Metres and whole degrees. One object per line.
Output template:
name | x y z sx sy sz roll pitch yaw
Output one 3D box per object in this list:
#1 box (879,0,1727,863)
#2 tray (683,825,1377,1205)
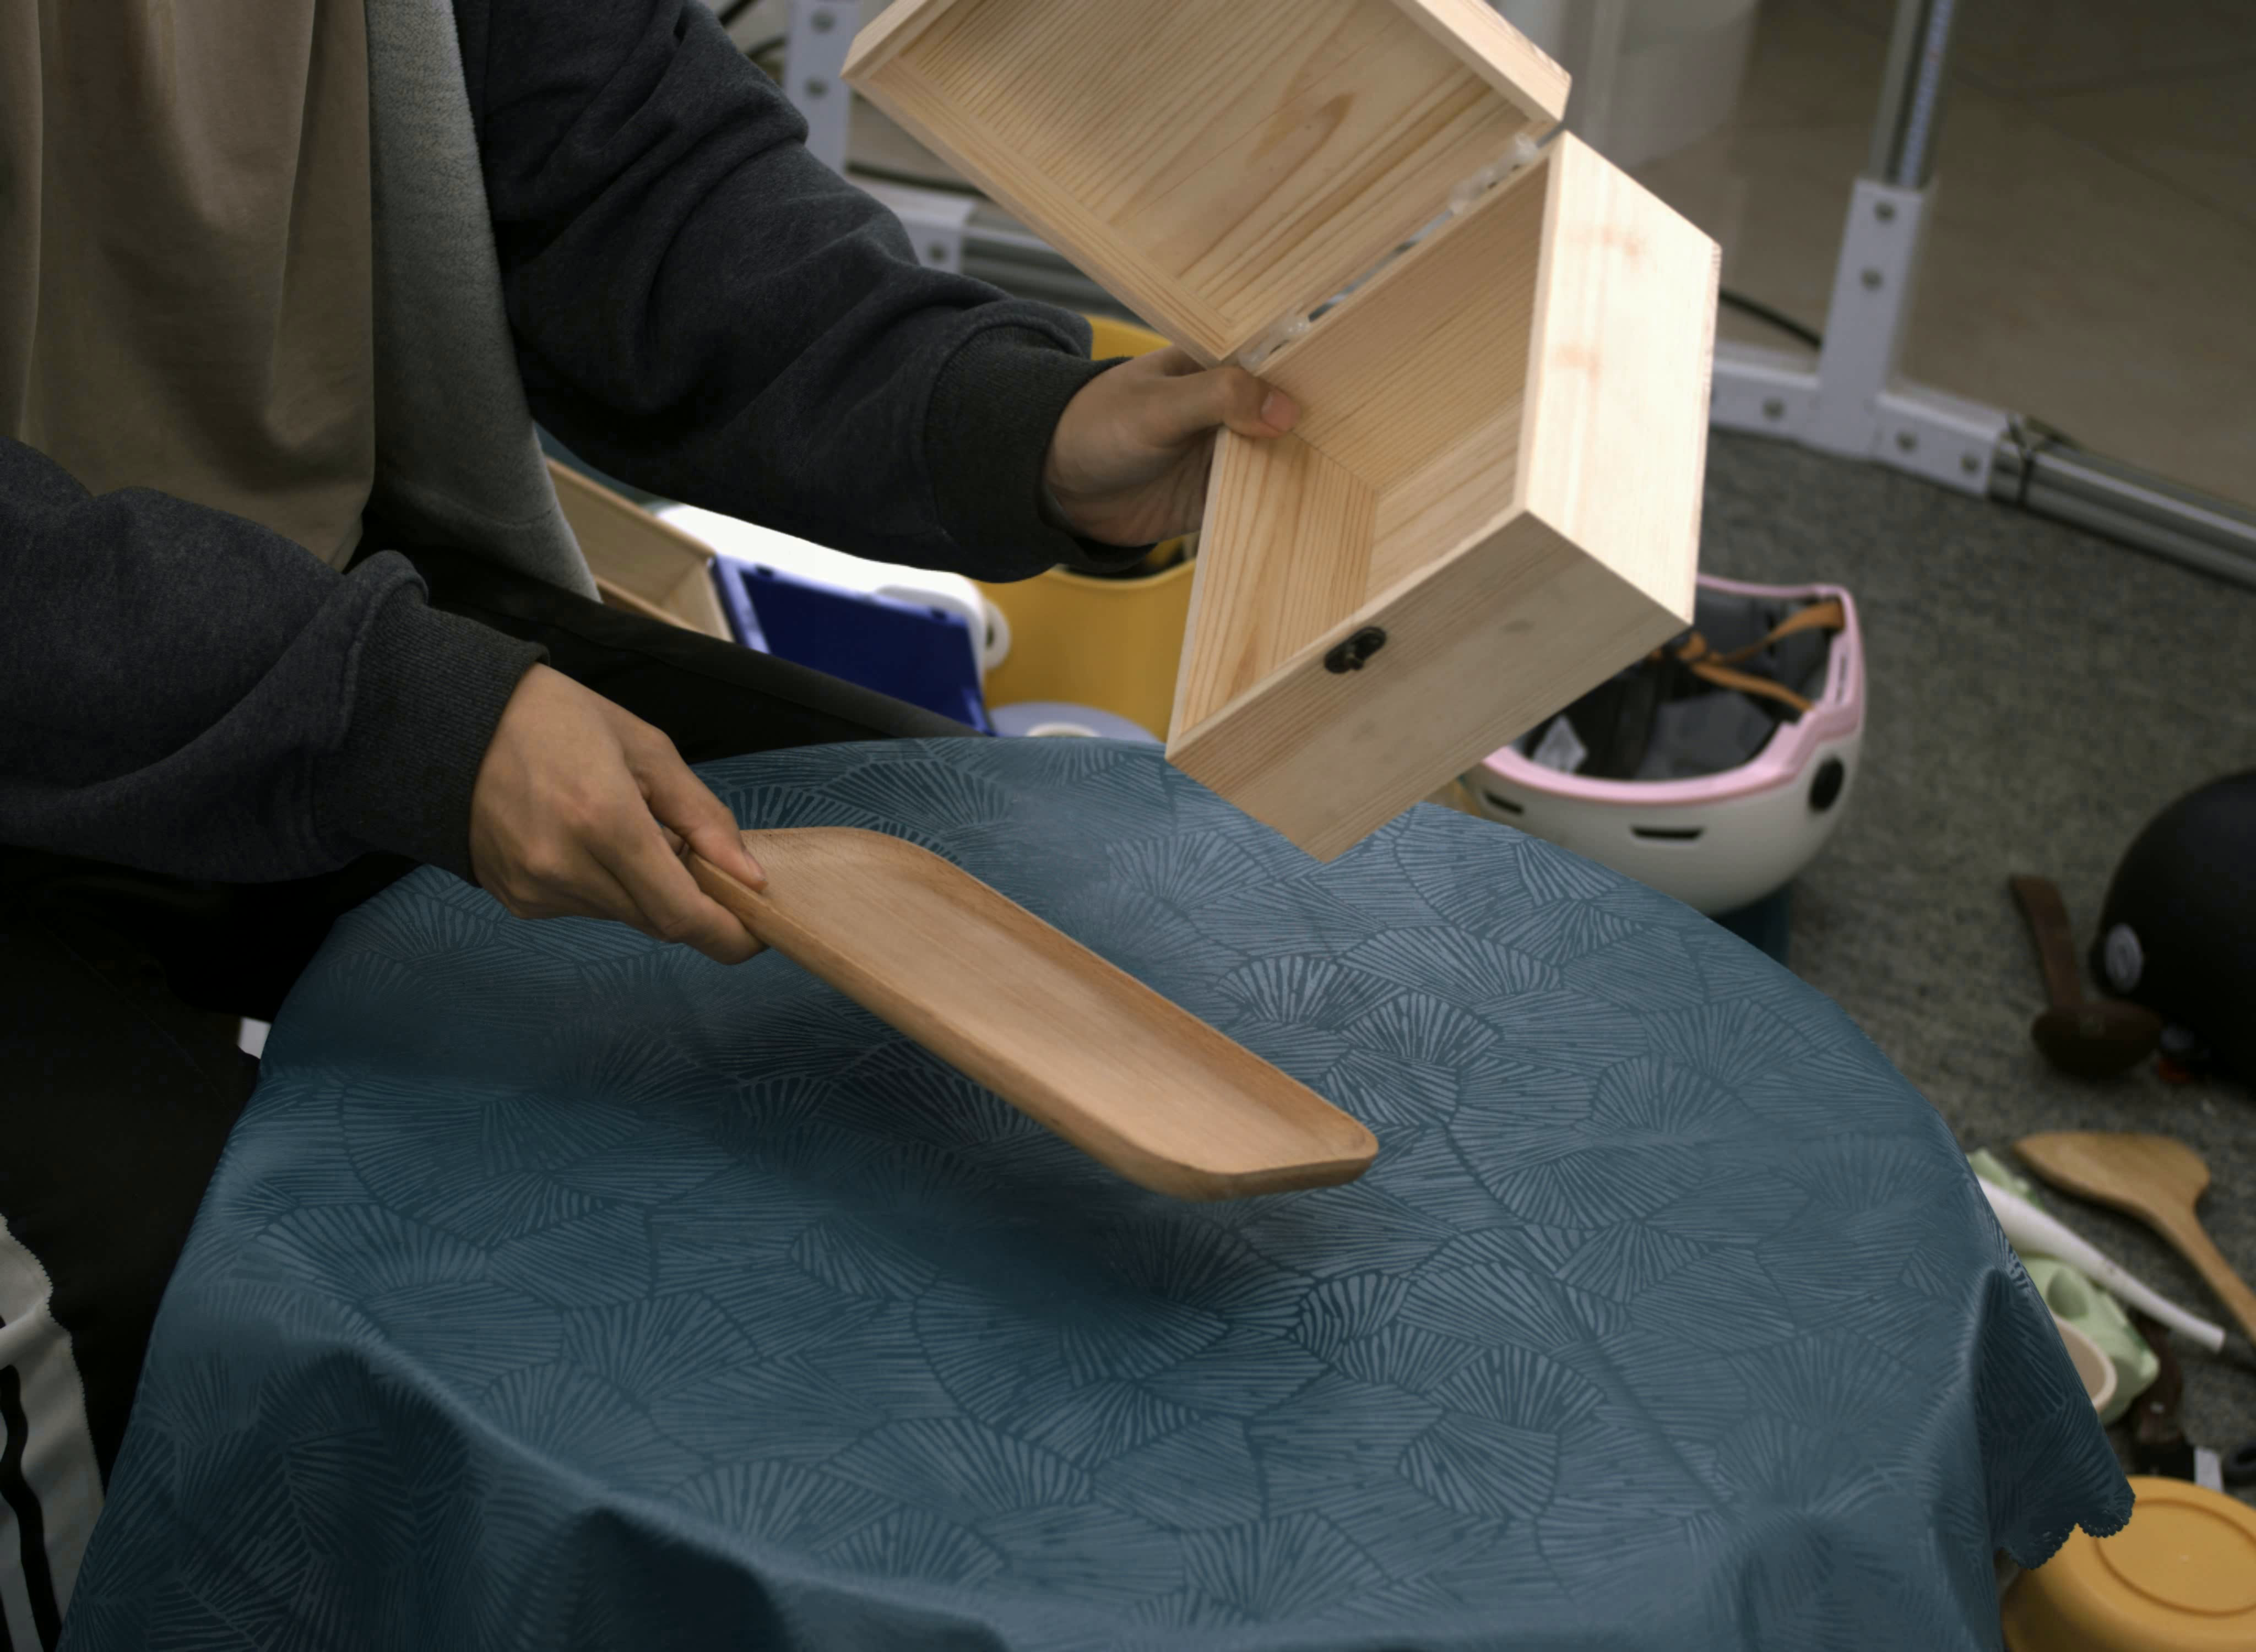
box | 0.048 -0.179 1.807 0.251 0.182 0.267 32 44 -22
tray | -0.036 0.061 1.799 0.252 0.023 0.129 31 17 34
